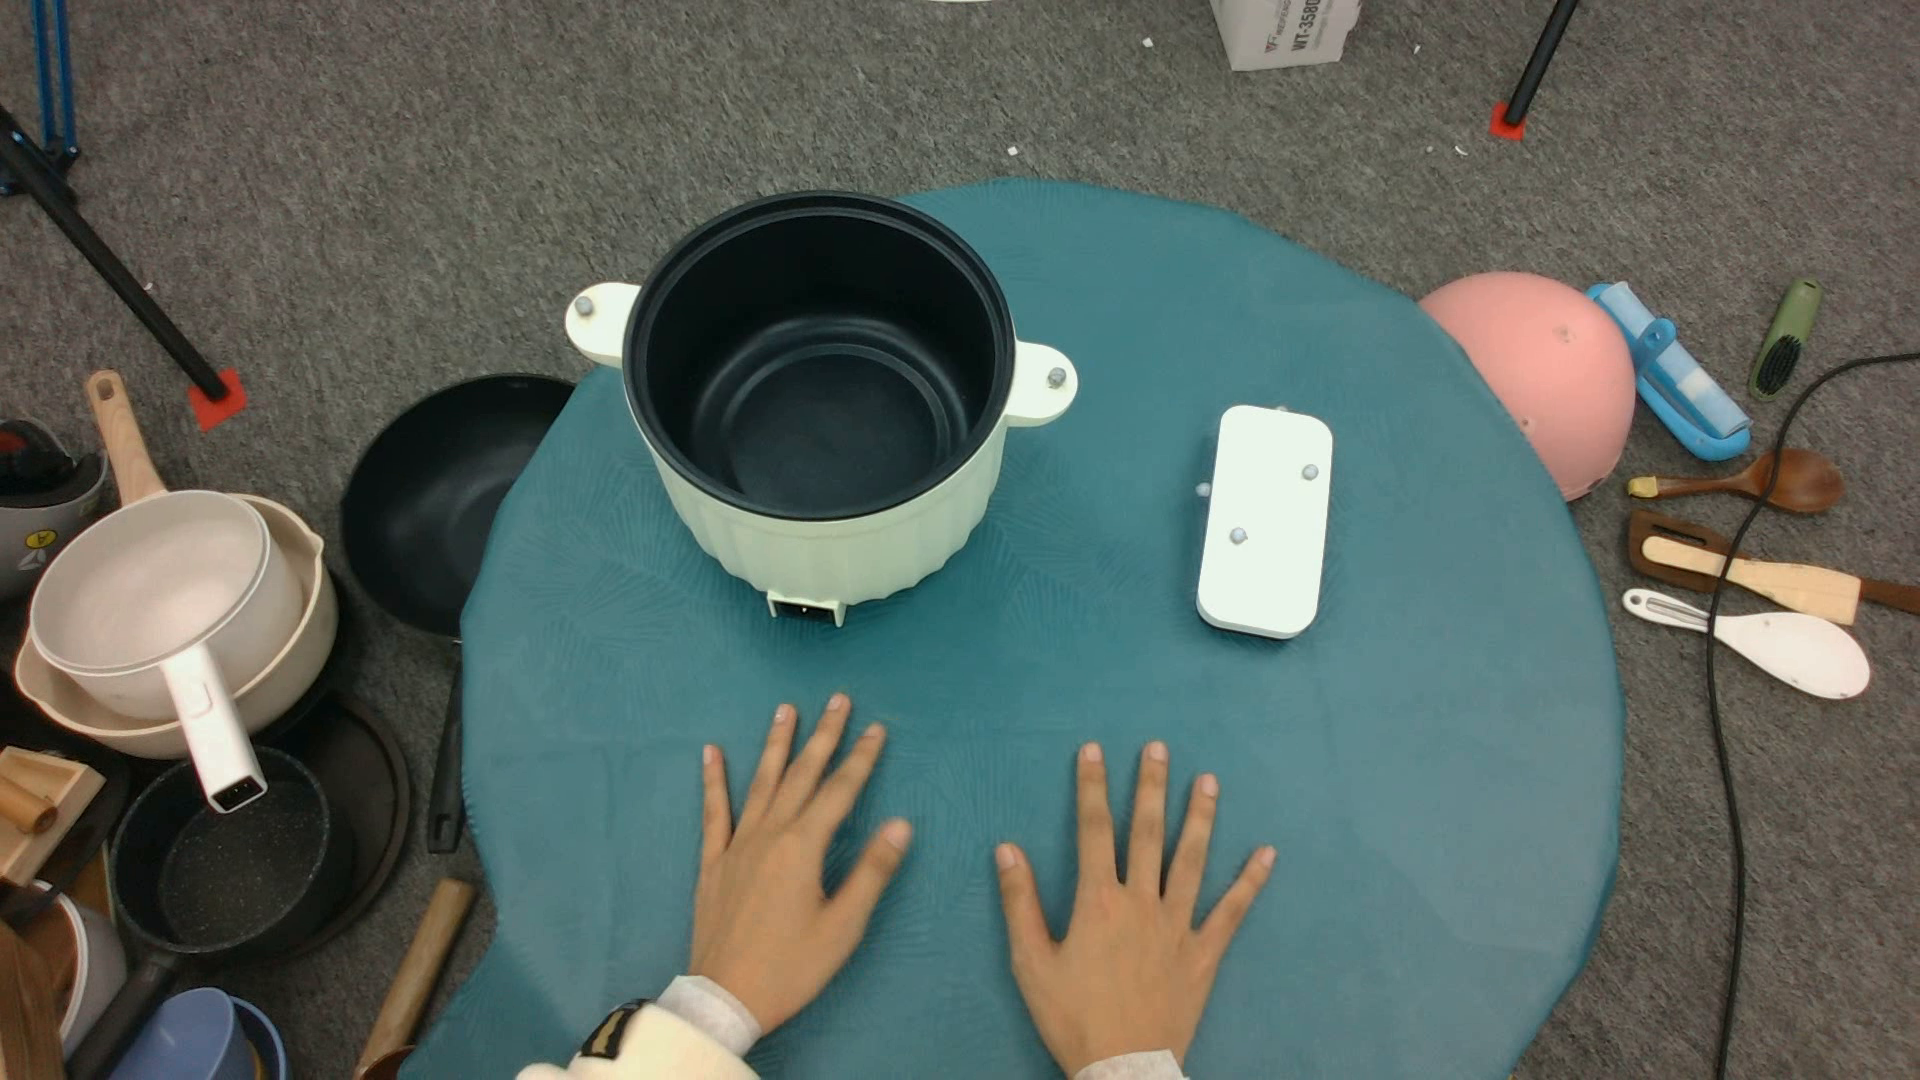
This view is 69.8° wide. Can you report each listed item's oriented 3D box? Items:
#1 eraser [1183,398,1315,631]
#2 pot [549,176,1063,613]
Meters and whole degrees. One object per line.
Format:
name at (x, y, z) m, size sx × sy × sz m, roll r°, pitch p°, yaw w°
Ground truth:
eraser at (0.153, -0.016, 0.737) m, size 0.063 × 0.034 × 0.132 m, roll 10°, pitch 64°, yaw 5°
pot at (-0.074, -0.073, 0.695) m, size 0.240 × 0.142 × 0.191 m, roll 8°, pitch 67°, yaw 1°
